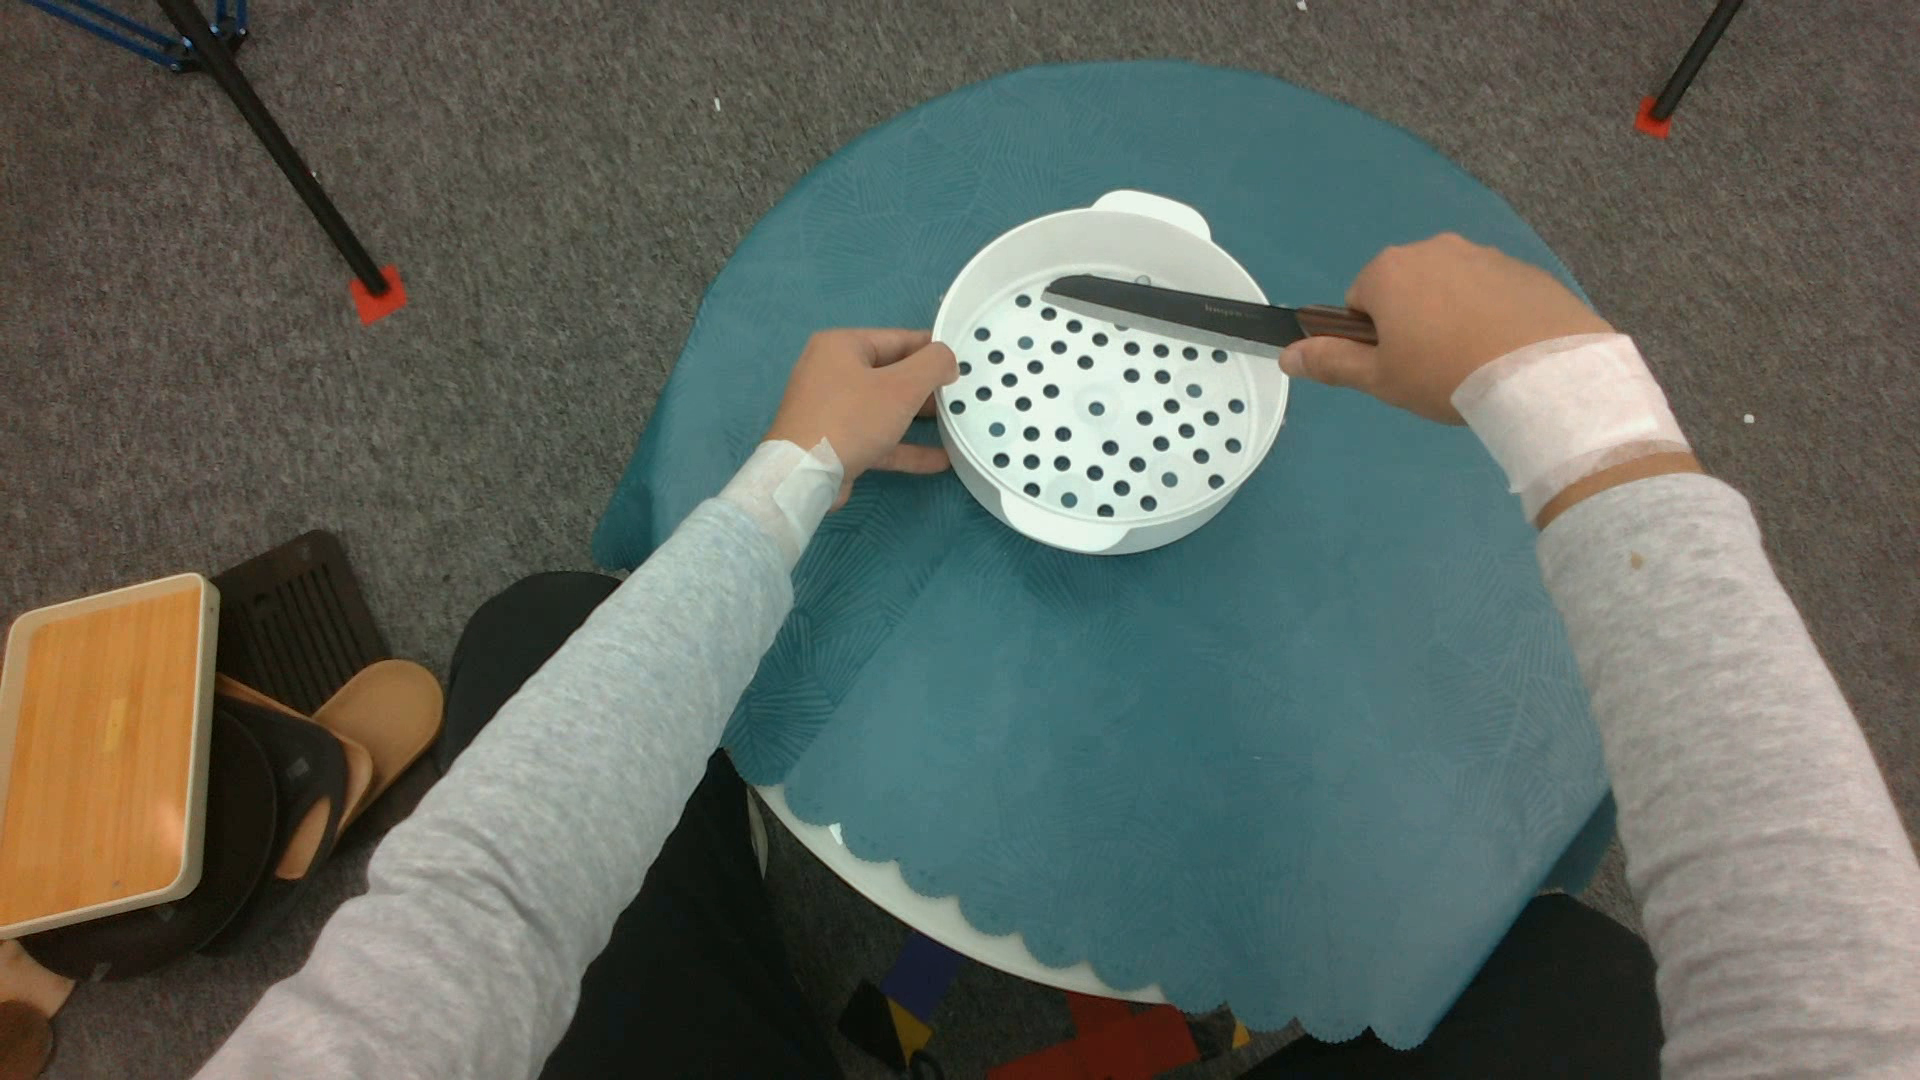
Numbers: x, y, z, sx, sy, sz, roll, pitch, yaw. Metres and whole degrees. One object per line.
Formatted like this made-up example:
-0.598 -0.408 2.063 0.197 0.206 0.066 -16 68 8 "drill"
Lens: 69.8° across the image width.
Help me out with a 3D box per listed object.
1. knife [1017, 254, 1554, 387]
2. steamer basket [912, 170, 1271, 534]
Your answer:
0.139 -0.109 0.665 0.289 0.050 0.020 17 66 38 "knife"
0.073 -0.102 0.796 0.202 0.069 0.231 16 69 4 "steamer basket"
